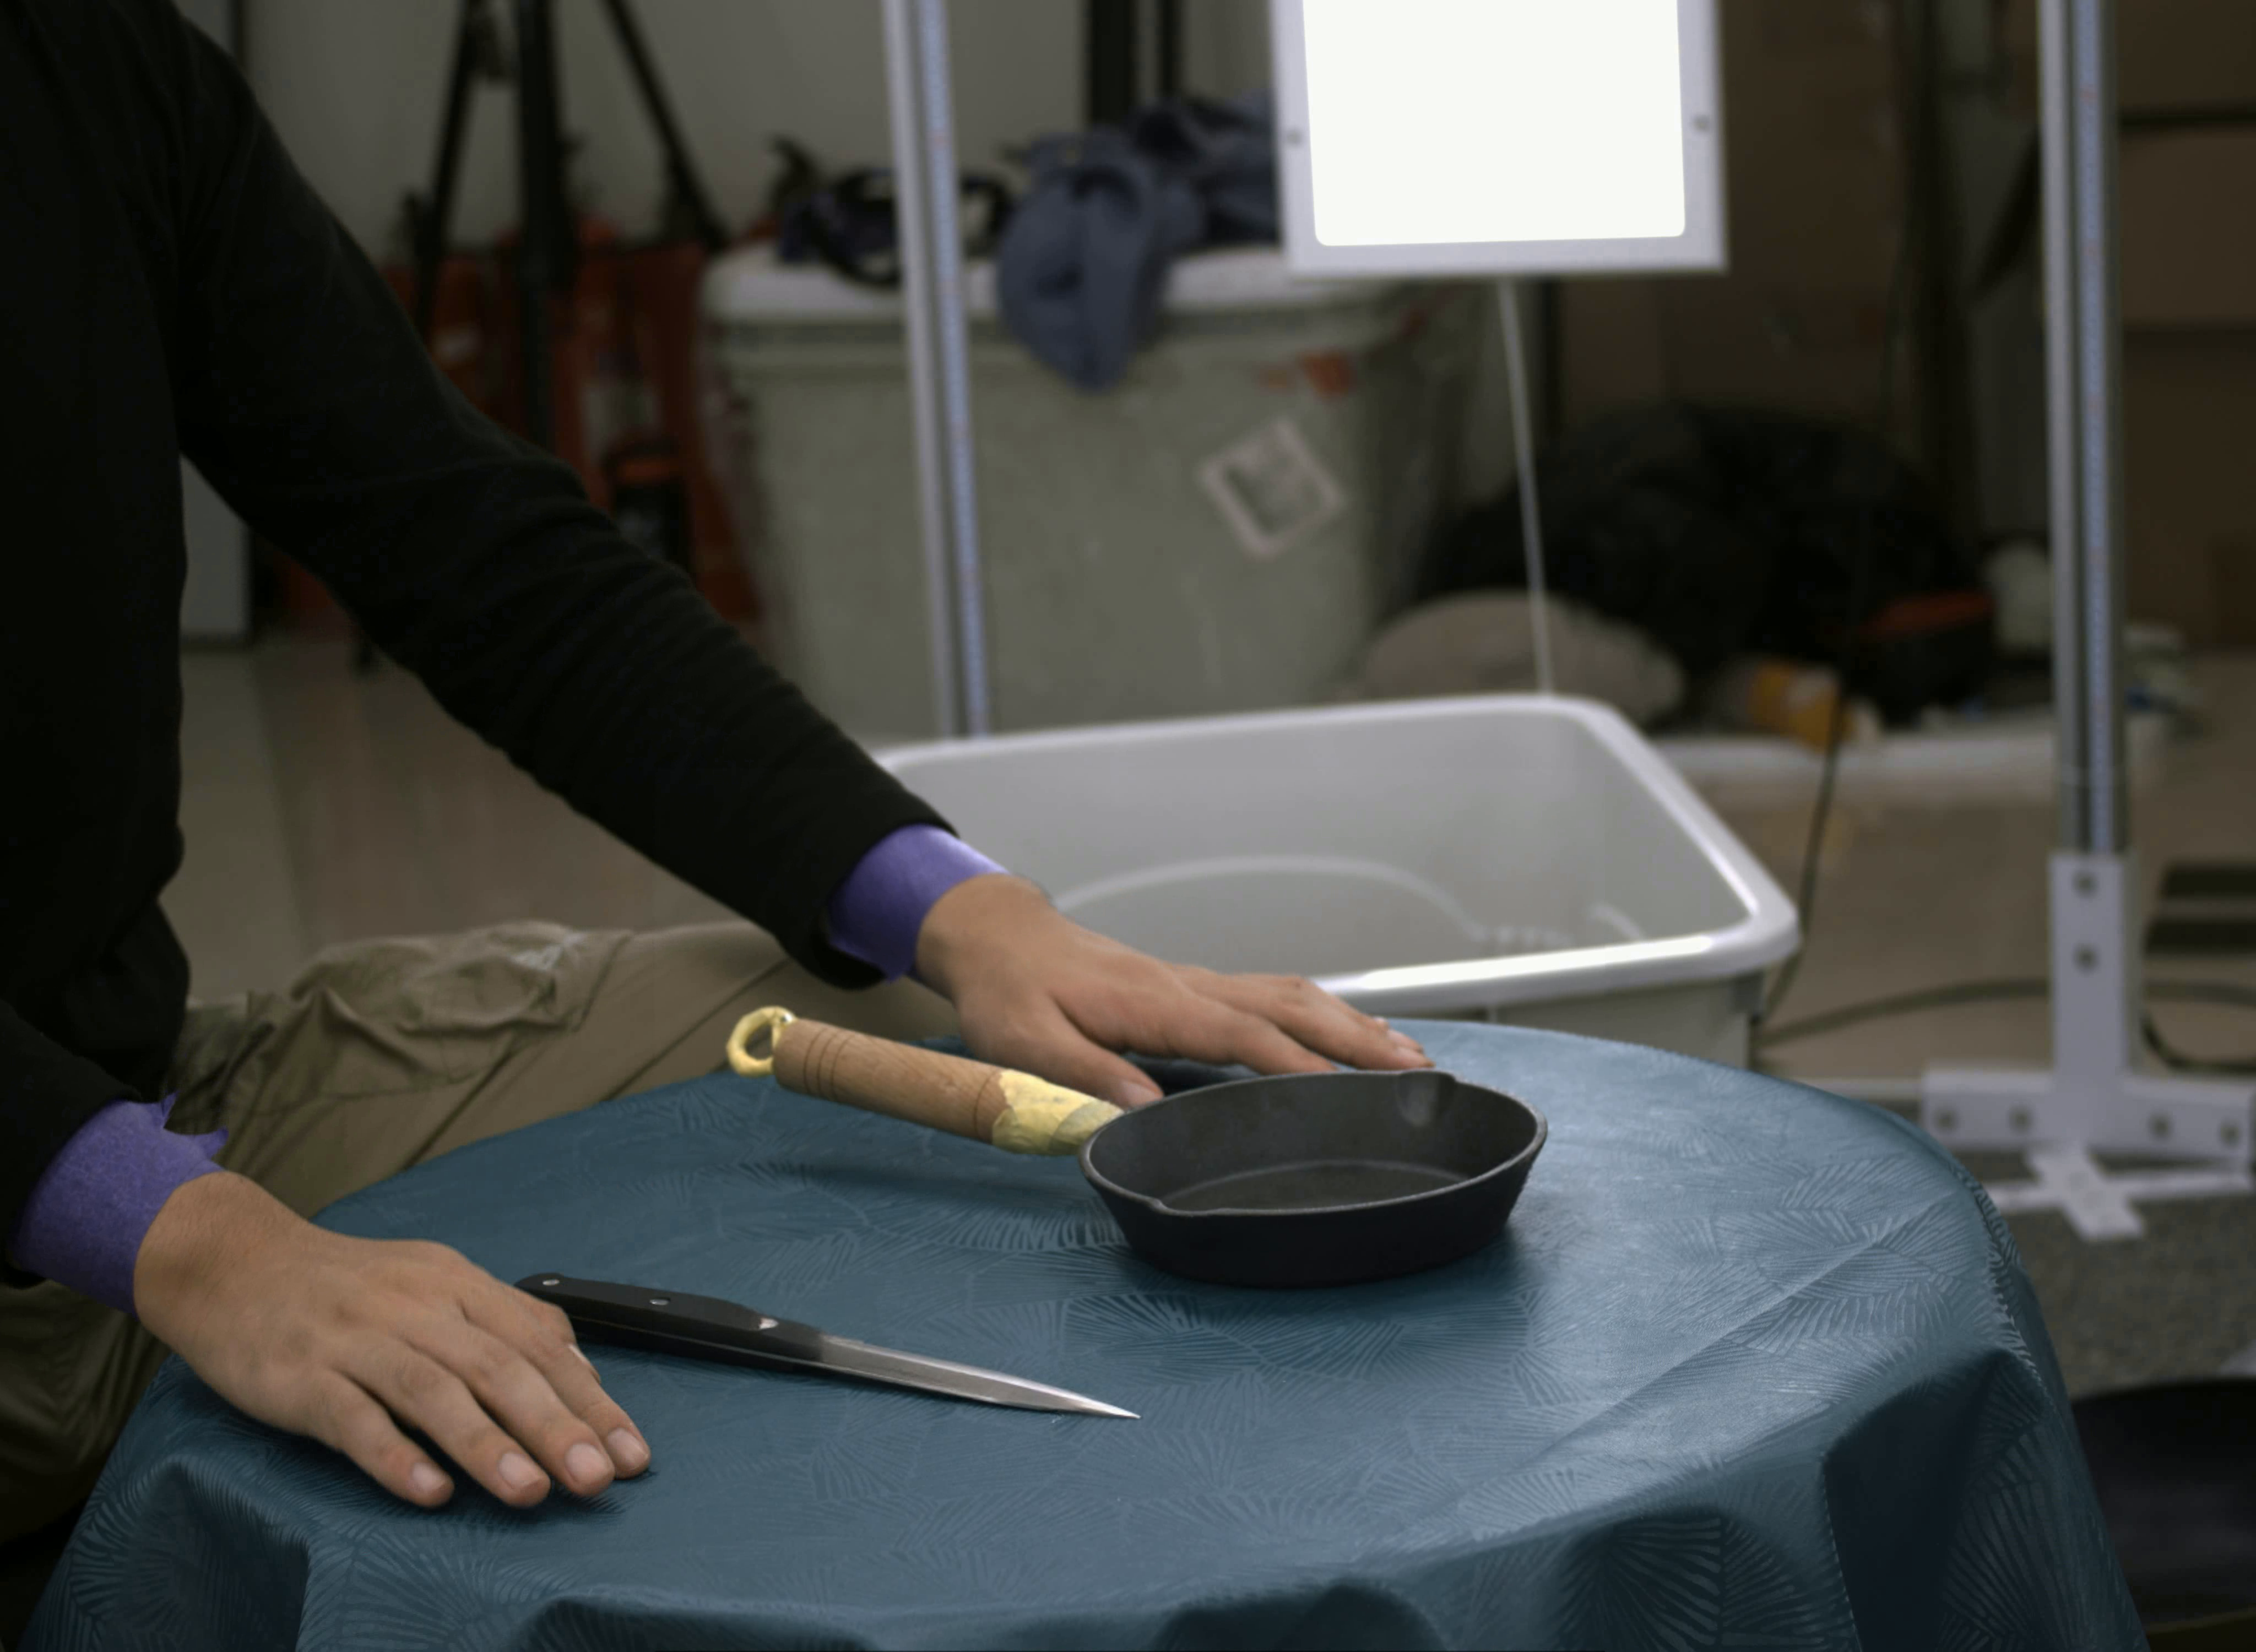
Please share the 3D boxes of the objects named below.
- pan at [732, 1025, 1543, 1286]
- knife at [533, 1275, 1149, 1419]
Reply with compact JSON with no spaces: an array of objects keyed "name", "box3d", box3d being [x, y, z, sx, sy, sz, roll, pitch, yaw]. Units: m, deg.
[{"name":"pan","box3d":[-0.006,0.106,1.887,0.331,0.050,0.165,5,17,38]},{"name":"knife","box3d":[-0.096,0.168,1.745,0.243,0.016,0.024,7,18,33]}]
